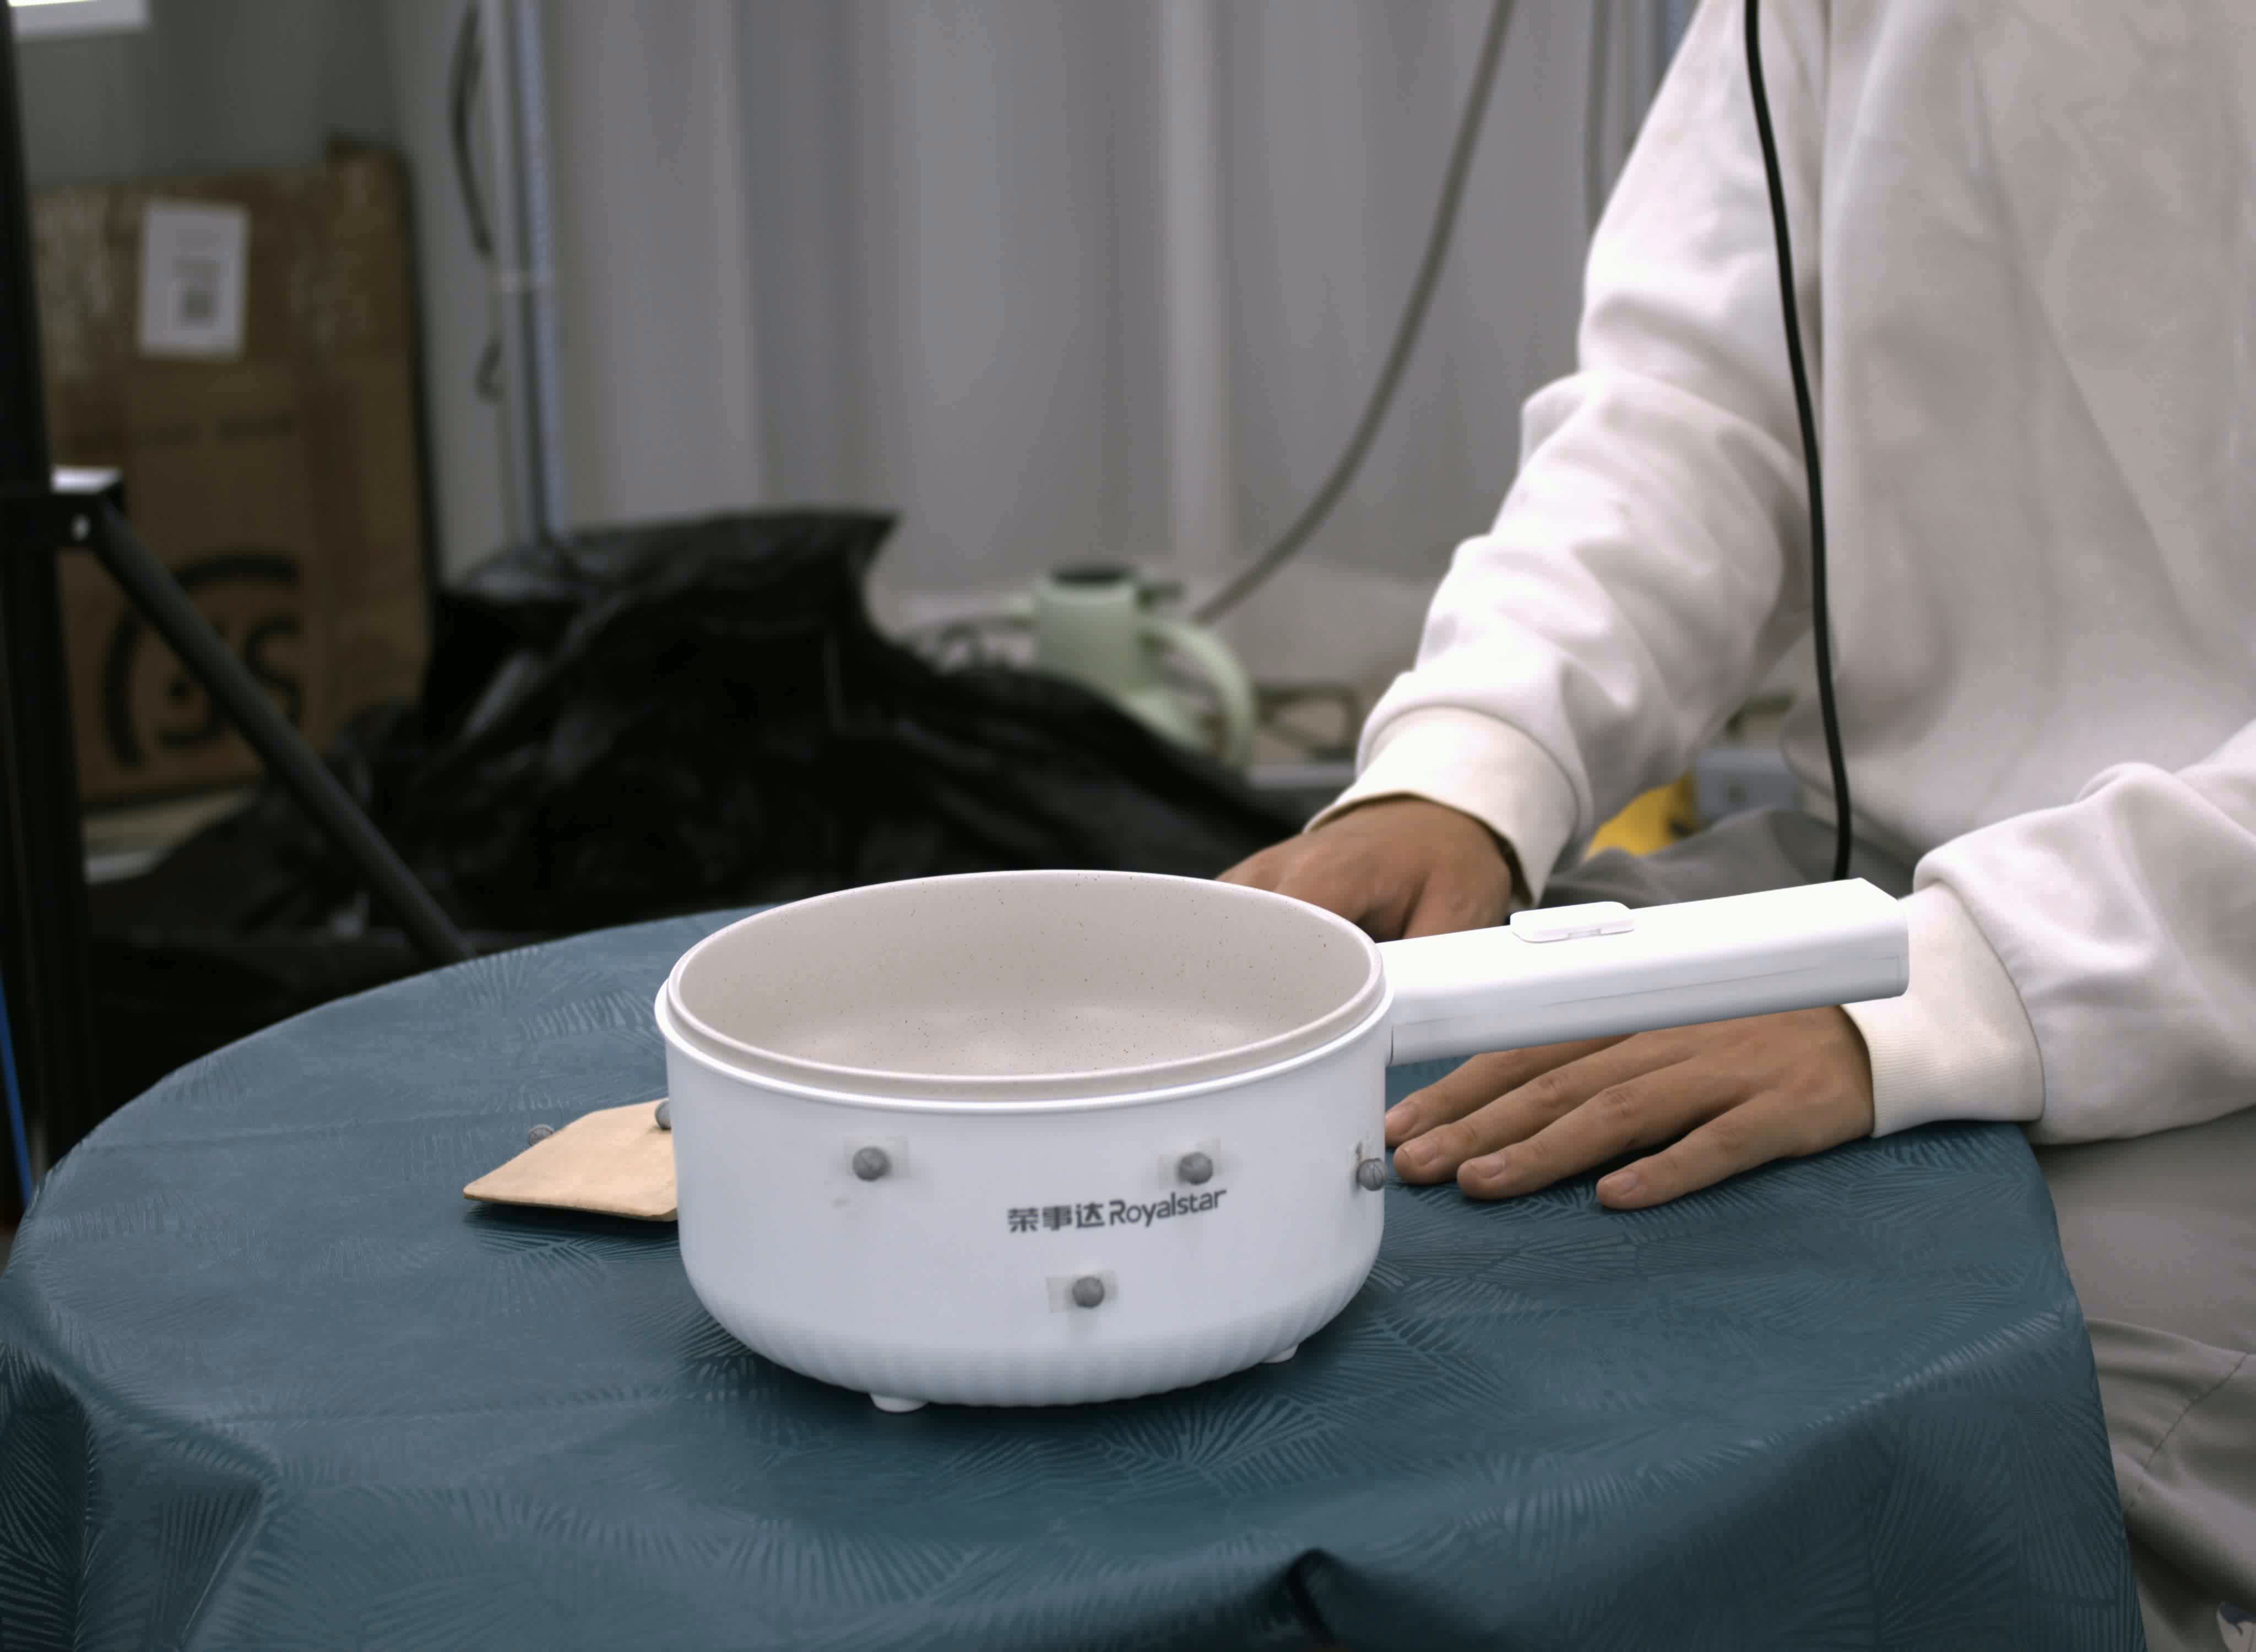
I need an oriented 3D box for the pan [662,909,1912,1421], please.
[{"bbox_3d":[0.047,0.089,1.471,0.349,0.102,0.204,-4,12,-15],"label":"pan"}]
